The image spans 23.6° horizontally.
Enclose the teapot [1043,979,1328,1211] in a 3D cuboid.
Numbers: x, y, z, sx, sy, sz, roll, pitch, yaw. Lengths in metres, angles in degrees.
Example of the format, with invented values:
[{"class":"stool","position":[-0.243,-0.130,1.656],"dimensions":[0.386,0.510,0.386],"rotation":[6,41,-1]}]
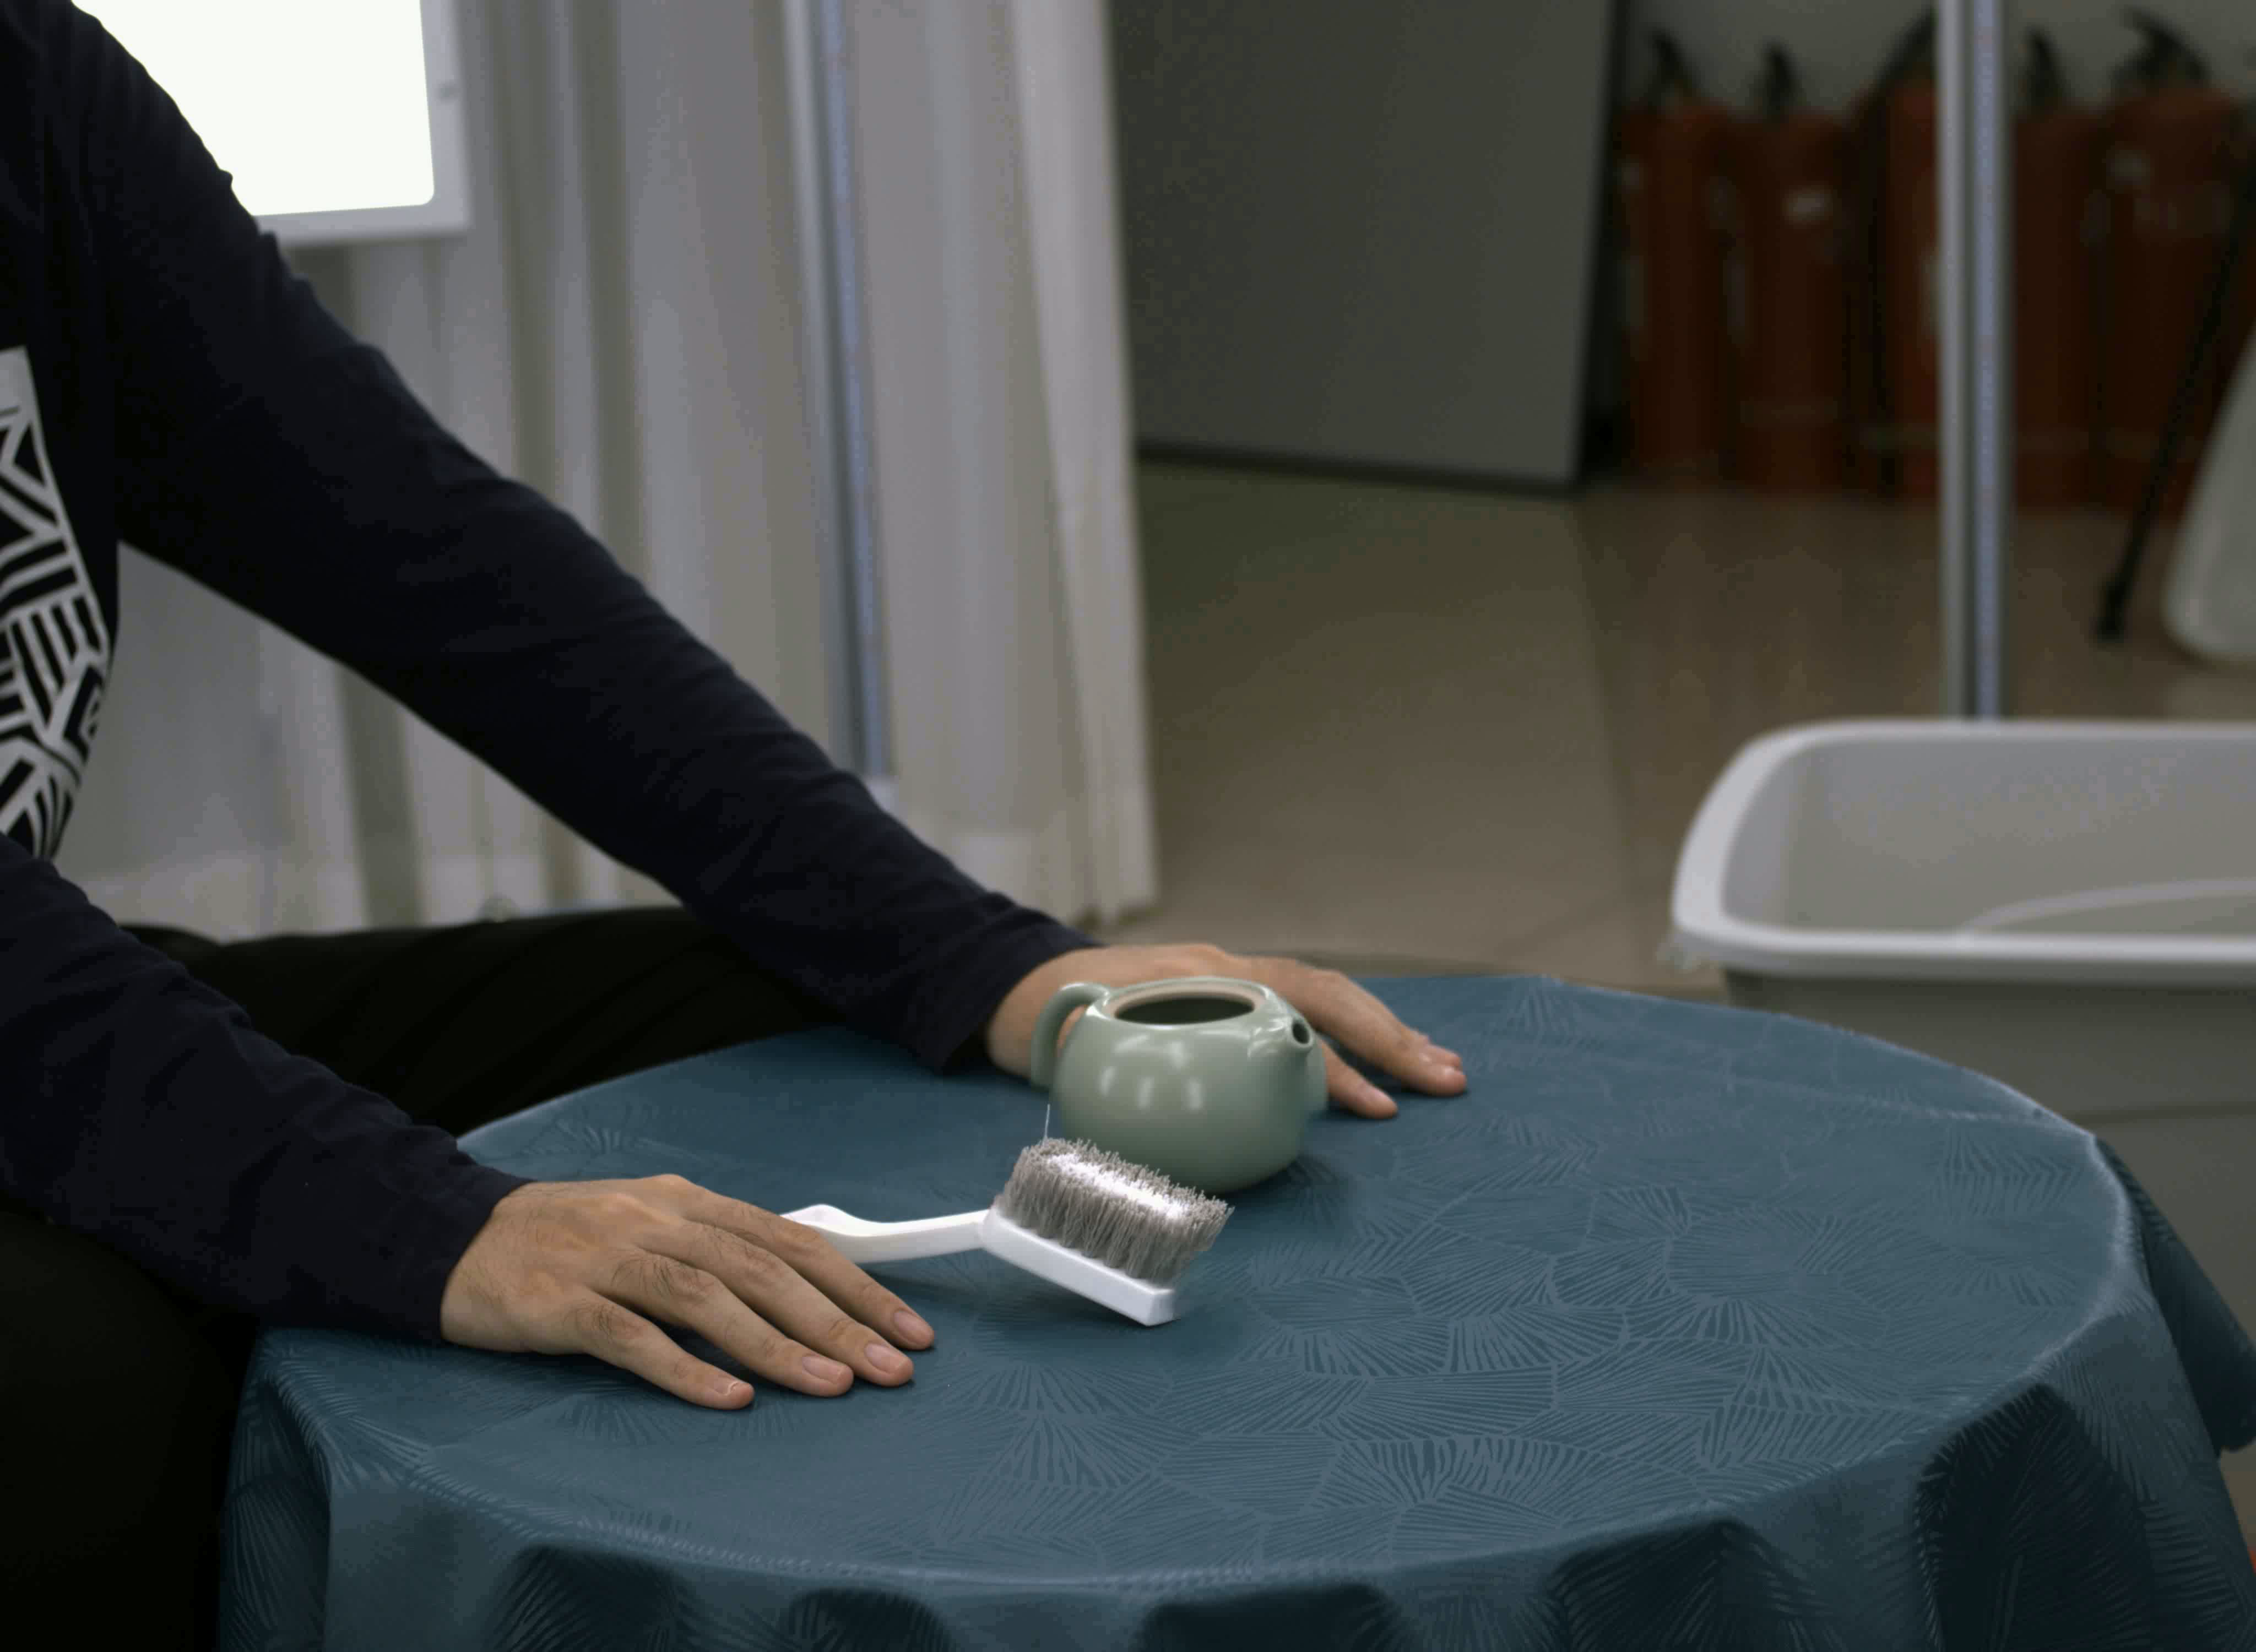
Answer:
[{"class":"teapot","position":[0.015,0.088,1.788],"dimensions":[0.089,0.061,0.130],"rotation":[-21,21,-36]}]

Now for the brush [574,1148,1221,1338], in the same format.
[{"class":"brush","position":[-0.078,0.121,1.702],"dimensions":[0.245,0.051,0.034],"rotation":[5,20,34]}]
